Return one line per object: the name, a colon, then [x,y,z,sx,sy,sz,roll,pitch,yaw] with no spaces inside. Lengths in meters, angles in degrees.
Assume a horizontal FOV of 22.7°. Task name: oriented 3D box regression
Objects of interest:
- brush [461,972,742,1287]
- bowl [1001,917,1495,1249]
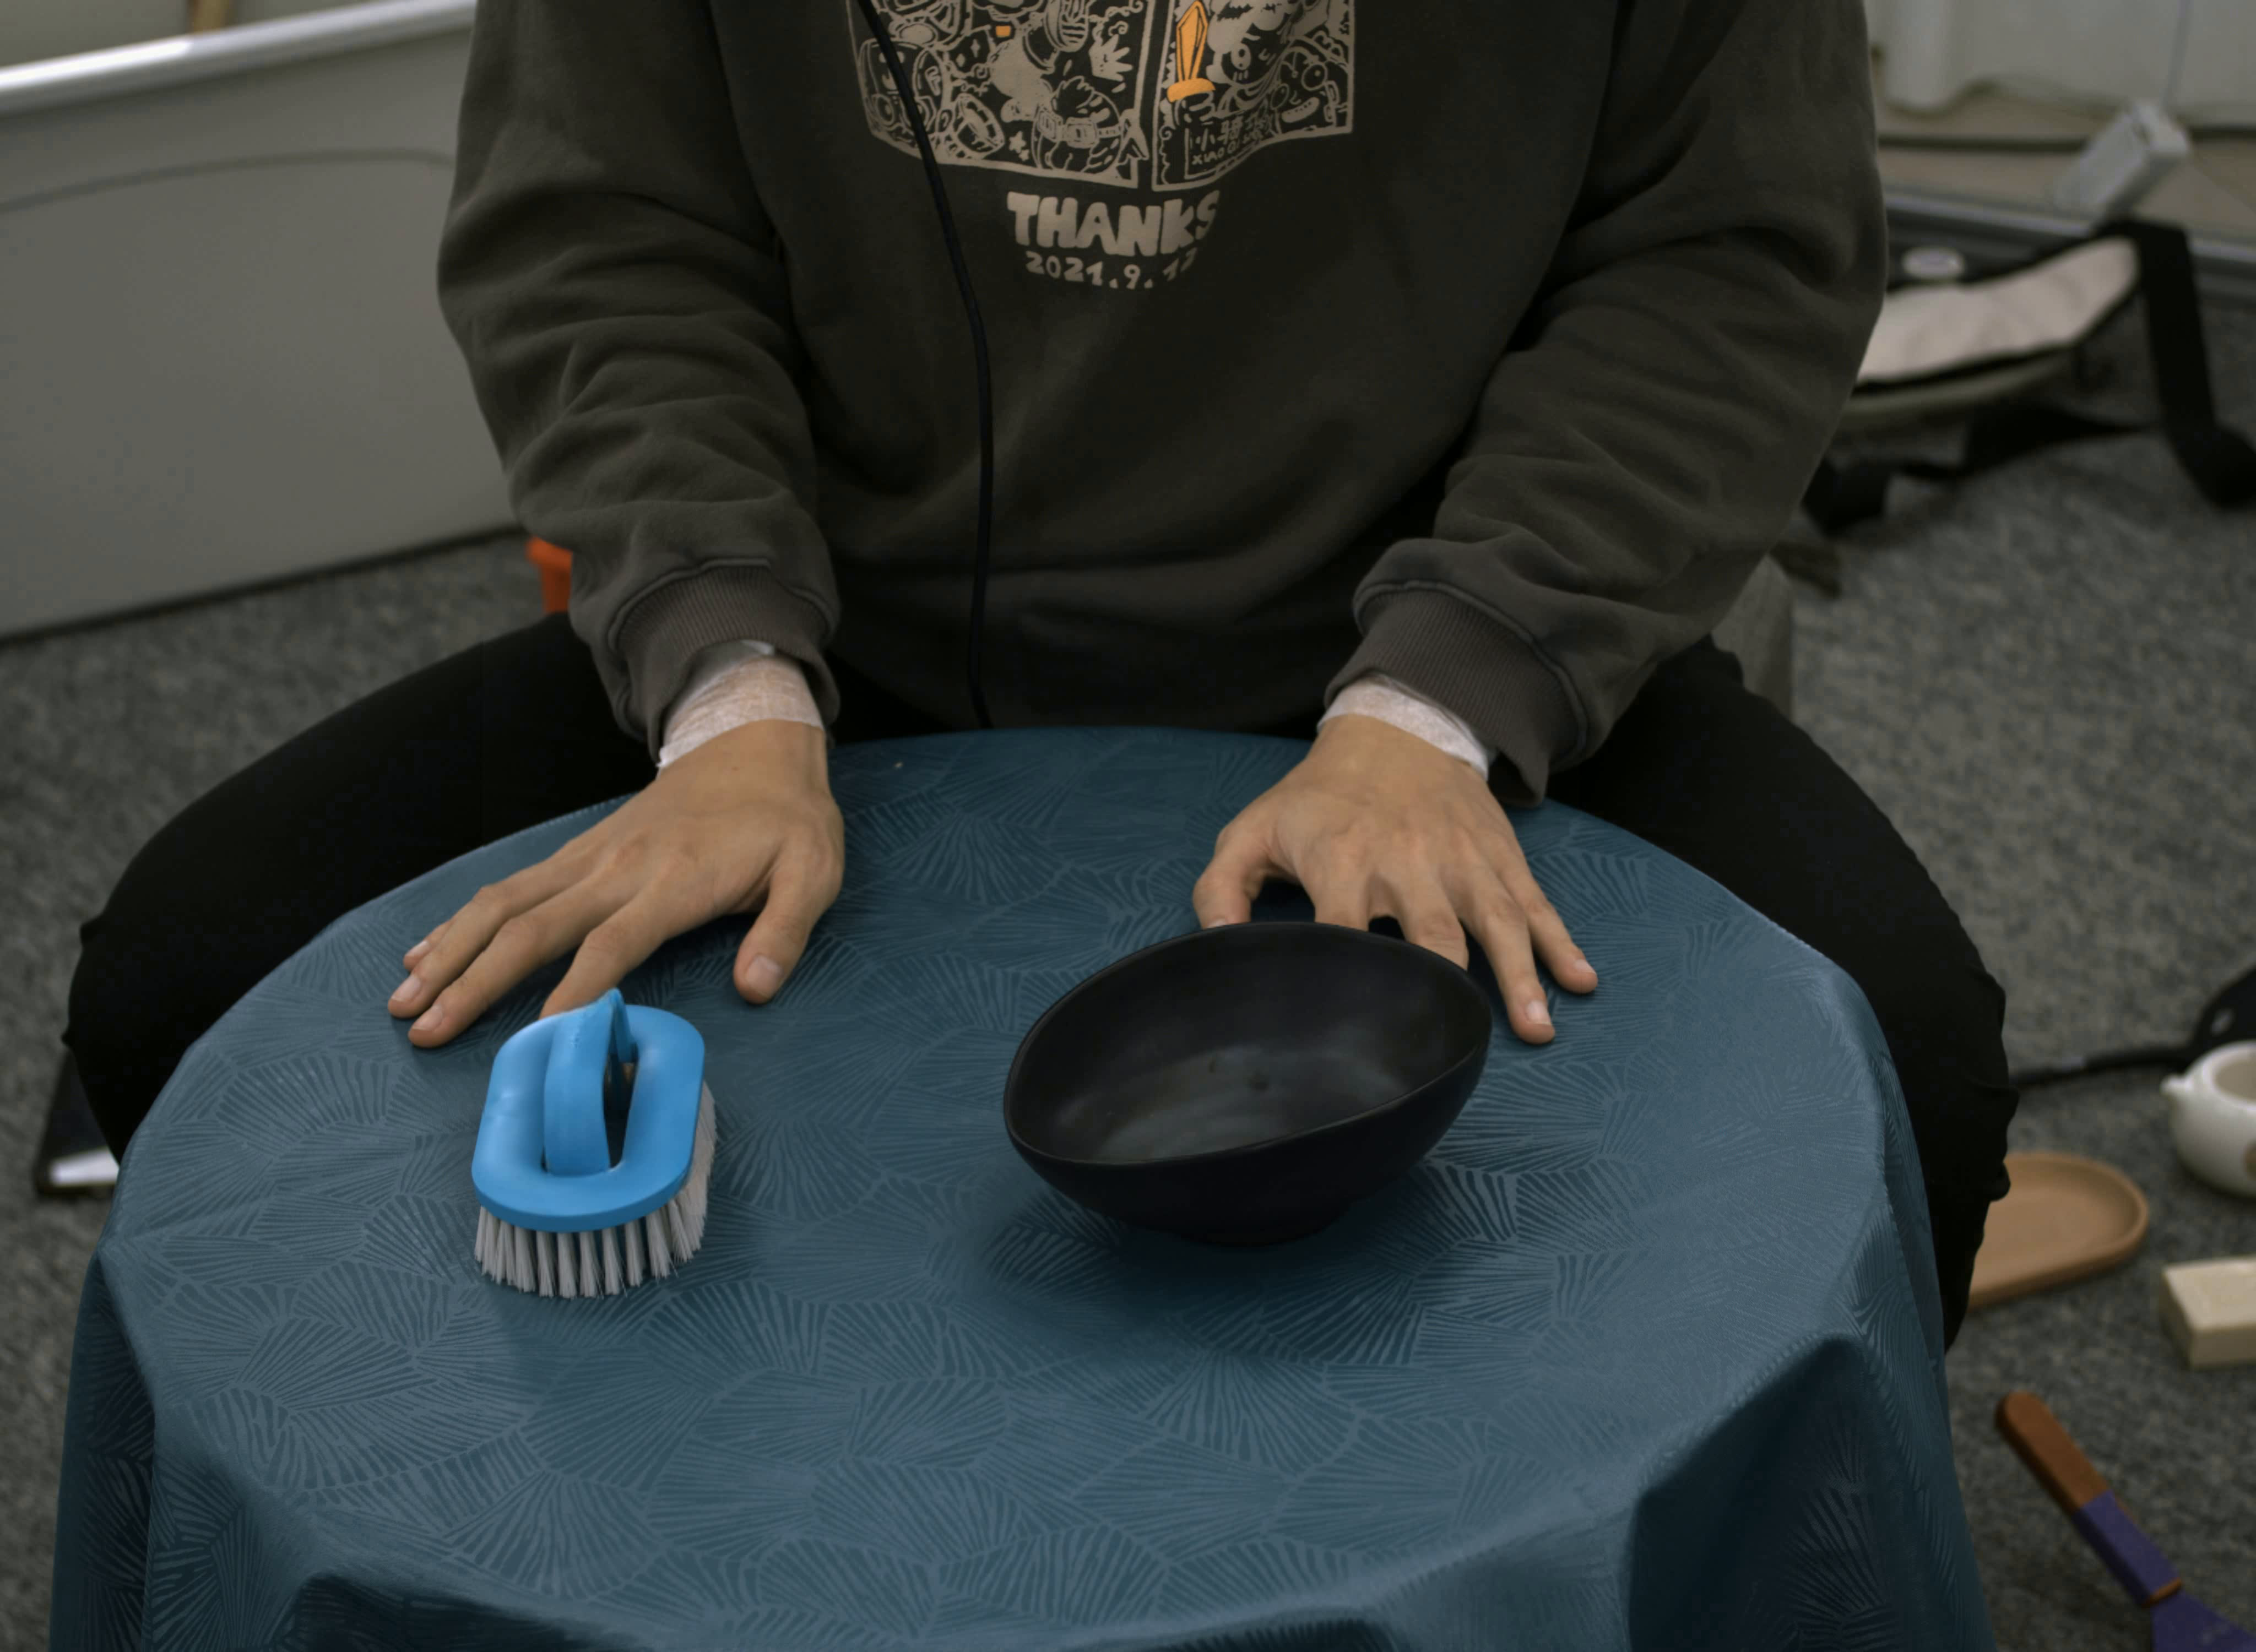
brush: [-0.176,0.092,1.865,0.084,0.063,0.144,-5,26,5]
bowl: [0.042,0.095,1.841,0.171,0.066,0.138,-19,31,-25]
